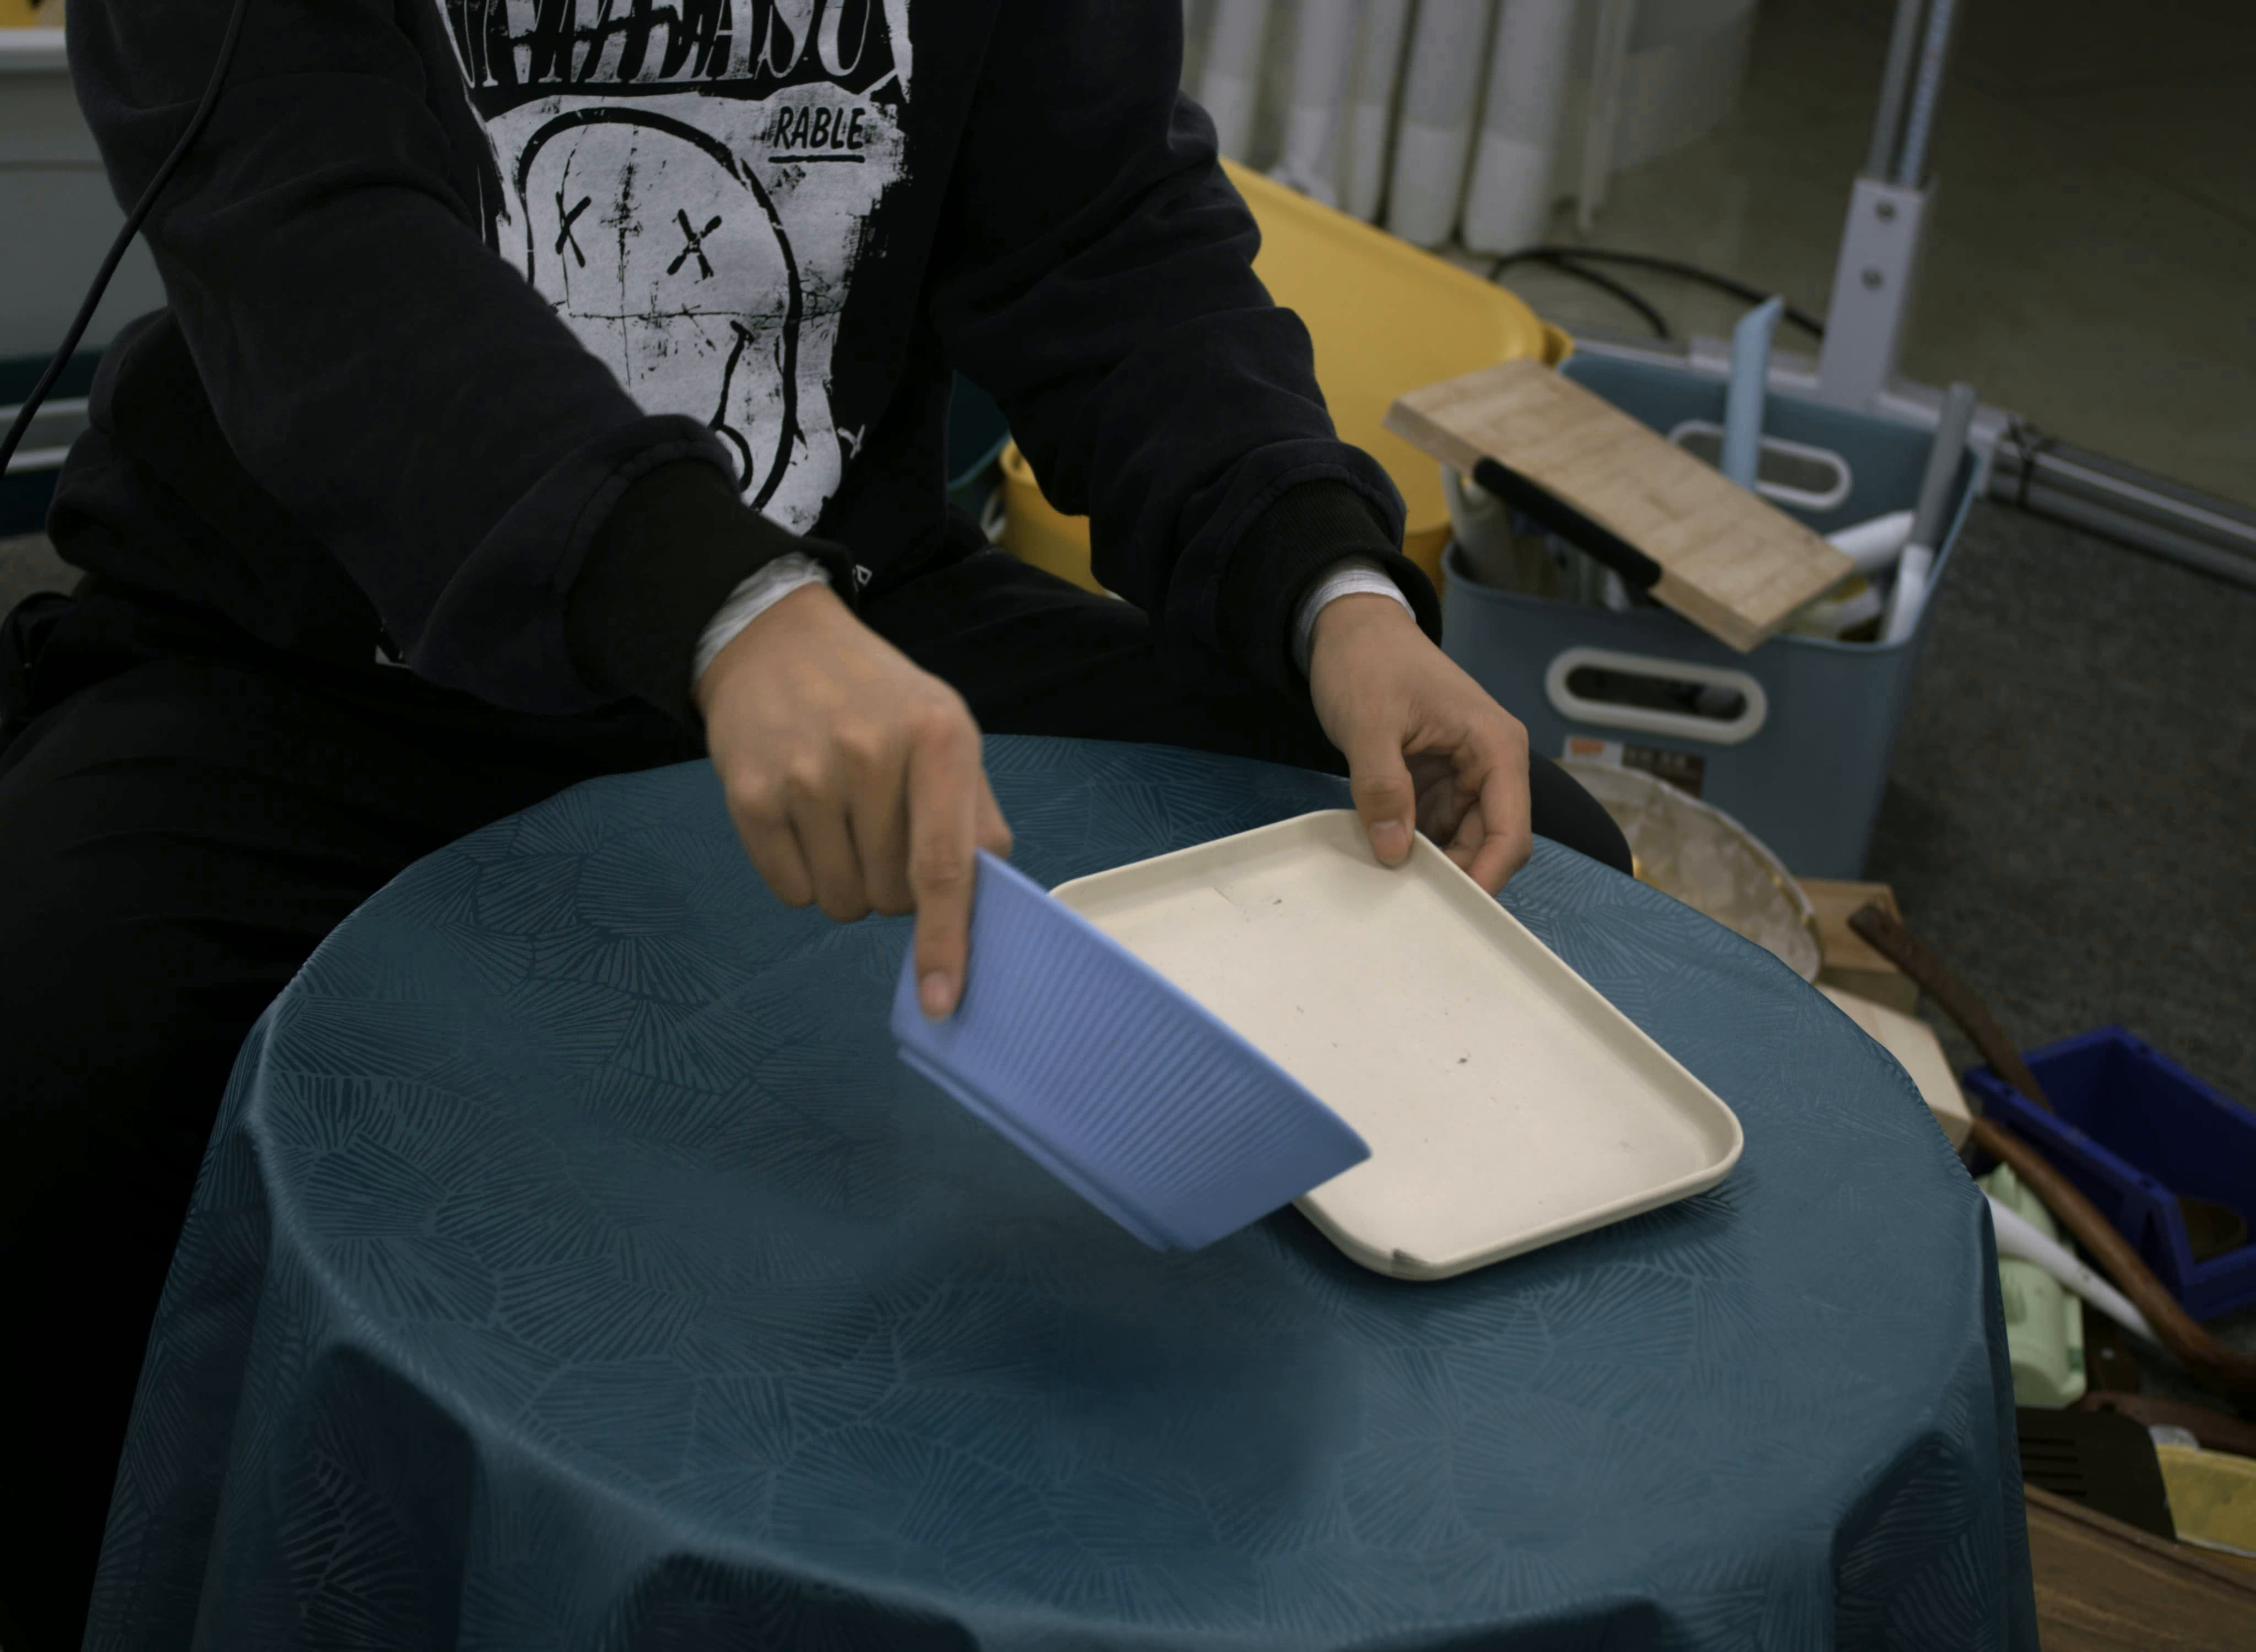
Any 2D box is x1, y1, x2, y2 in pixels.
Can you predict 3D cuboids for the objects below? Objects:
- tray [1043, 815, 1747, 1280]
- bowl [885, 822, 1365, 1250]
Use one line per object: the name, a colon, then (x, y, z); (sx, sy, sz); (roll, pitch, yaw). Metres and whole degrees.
tray: (0.089, 0.076, 1.867); (0.170, 0.017, 0.242); (-14, 39, -32)
bowl: (-0.013, 0.076, 1.706); (0.176, 0.070, 0.176); (37, -5, 3)
